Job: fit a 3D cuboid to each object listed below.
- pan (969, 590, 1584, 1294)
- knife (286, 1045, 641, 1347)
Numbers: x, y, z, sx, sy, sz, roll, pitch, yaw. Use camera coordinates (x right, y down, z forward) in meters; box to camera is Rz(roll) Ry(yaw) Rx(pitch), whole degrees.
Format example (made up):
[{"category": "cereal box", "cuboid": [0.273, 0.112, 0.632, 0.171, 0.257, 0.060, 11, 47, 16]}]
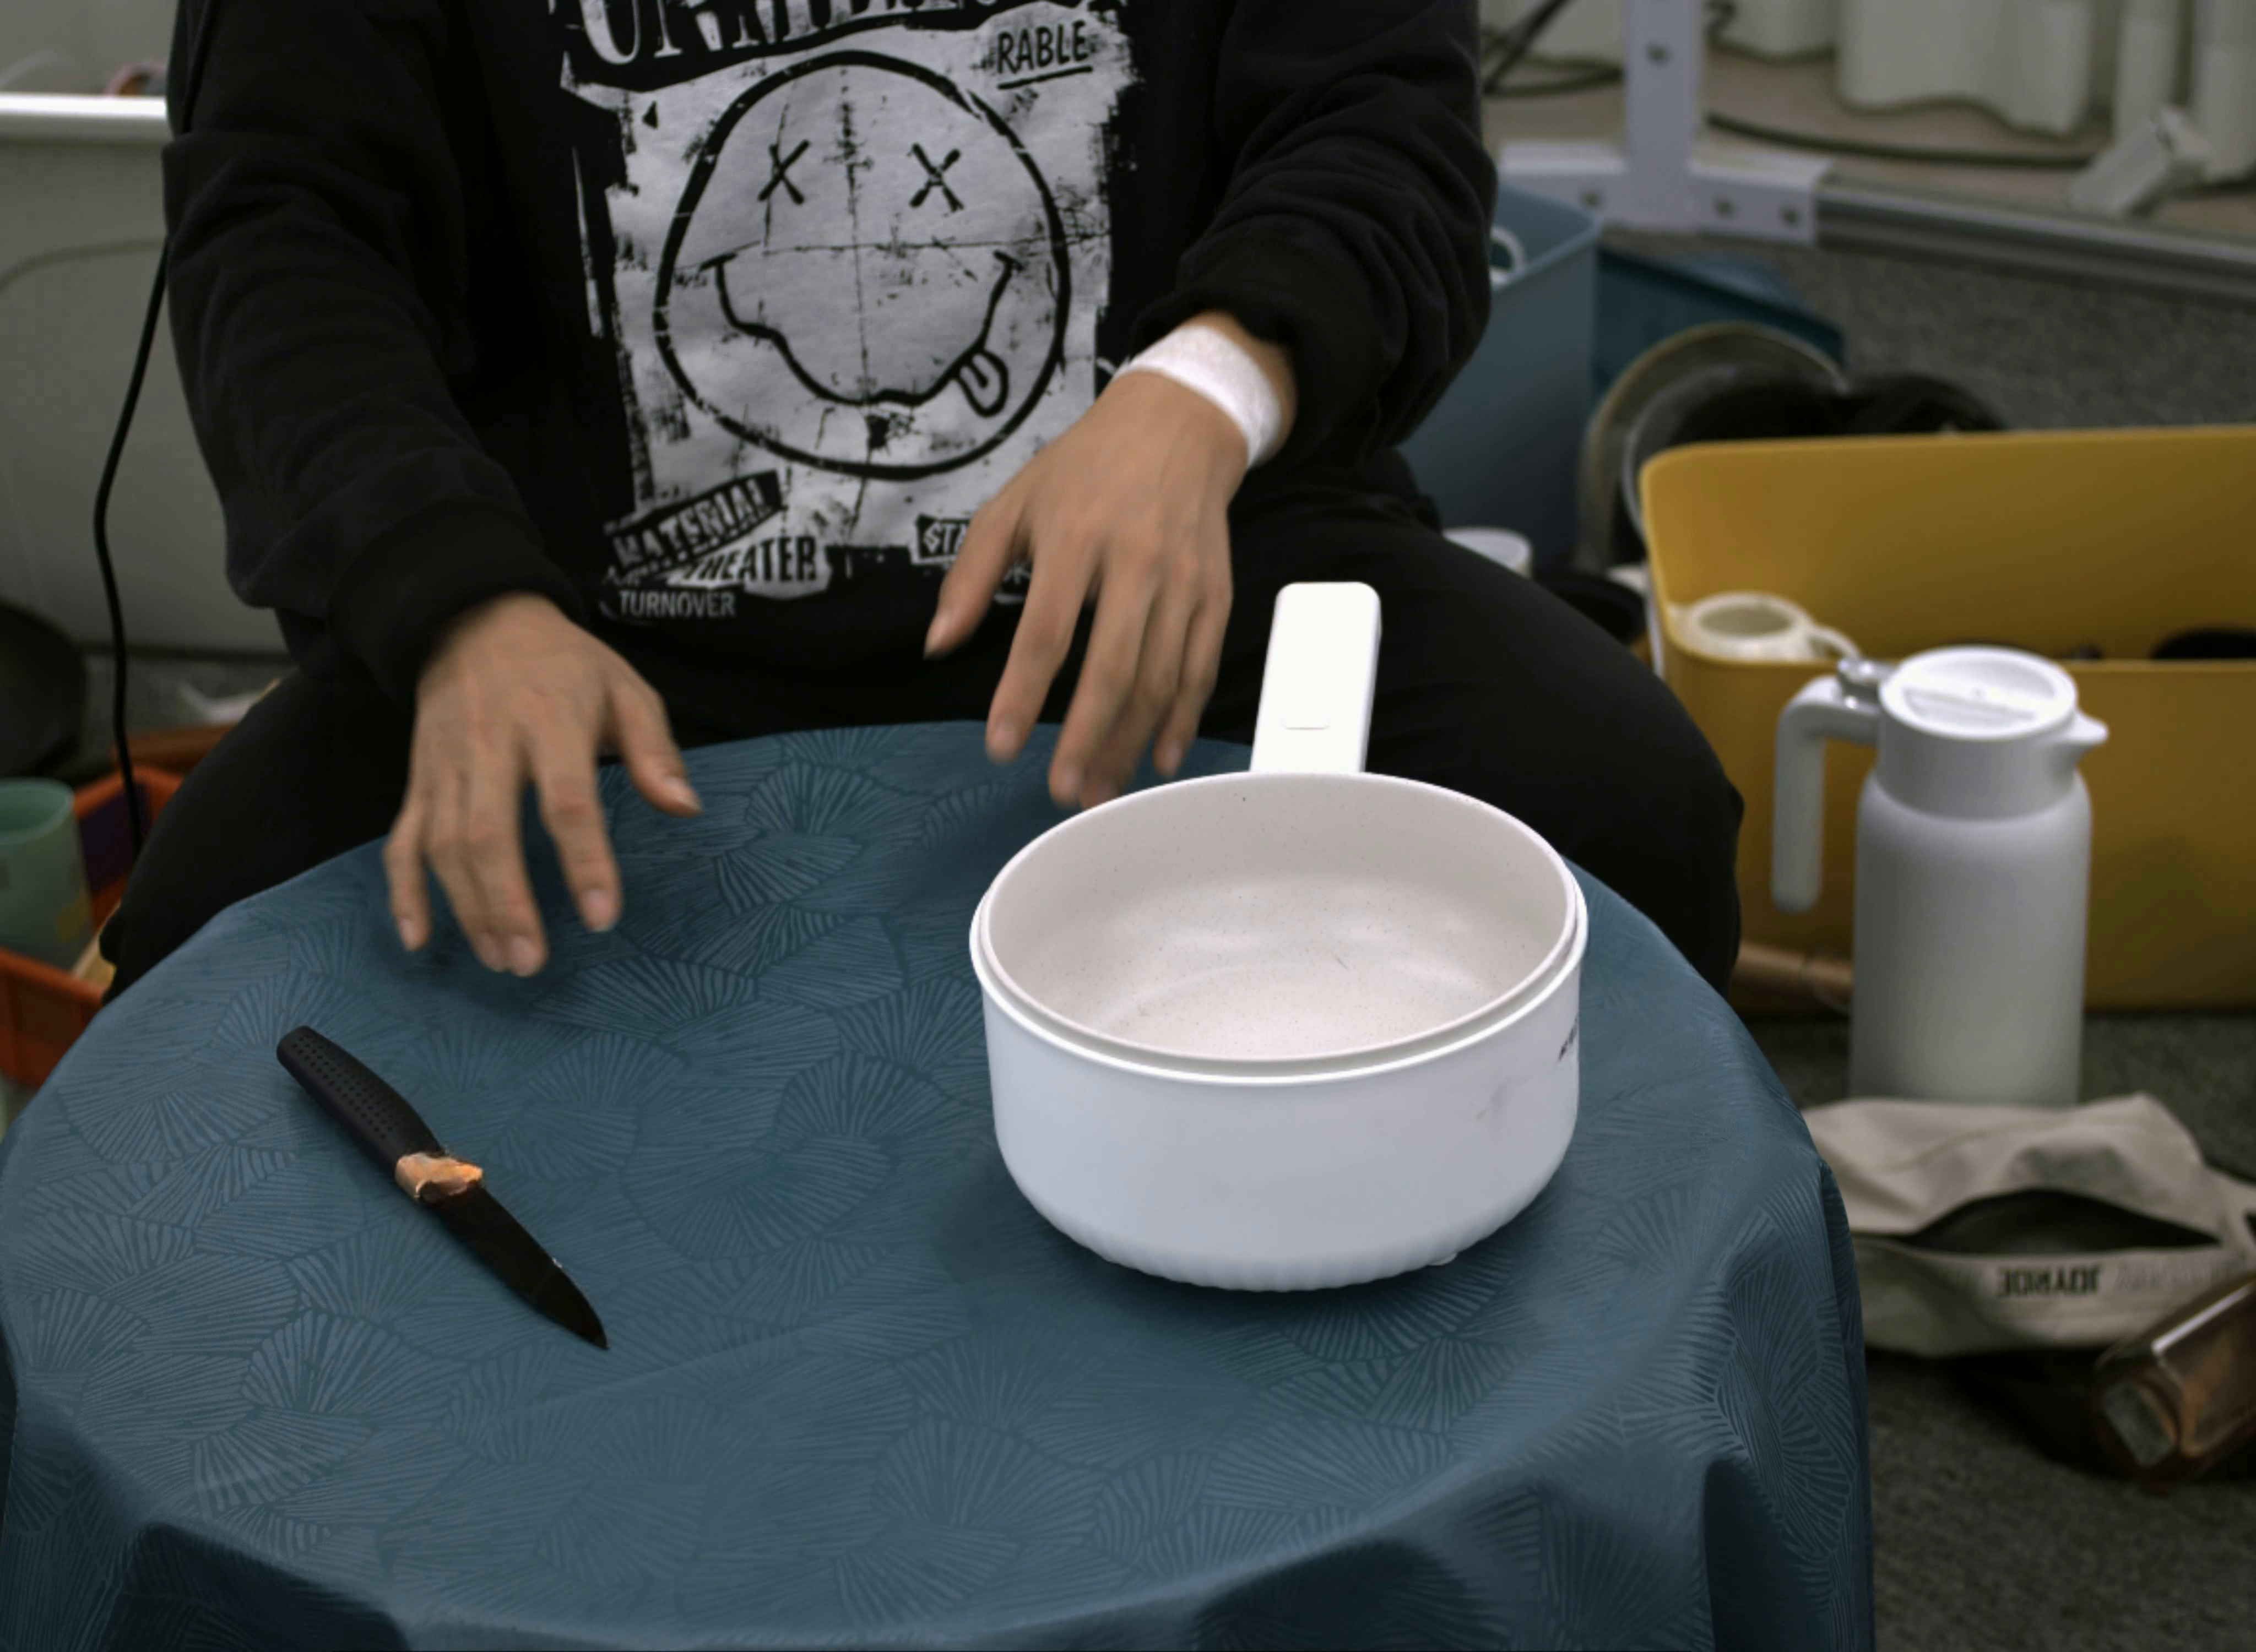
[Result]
[{"category": "pan", "cuboid": [0.059, 0.036, 1.914, 0.200, 0.101, 0.360, -1, 27, 7]}, {"category": "knife", "cuboid": [-0.224, 0.123, 1.868, 0.026, 0.017, 0.226, -3, 24, -36]}]
